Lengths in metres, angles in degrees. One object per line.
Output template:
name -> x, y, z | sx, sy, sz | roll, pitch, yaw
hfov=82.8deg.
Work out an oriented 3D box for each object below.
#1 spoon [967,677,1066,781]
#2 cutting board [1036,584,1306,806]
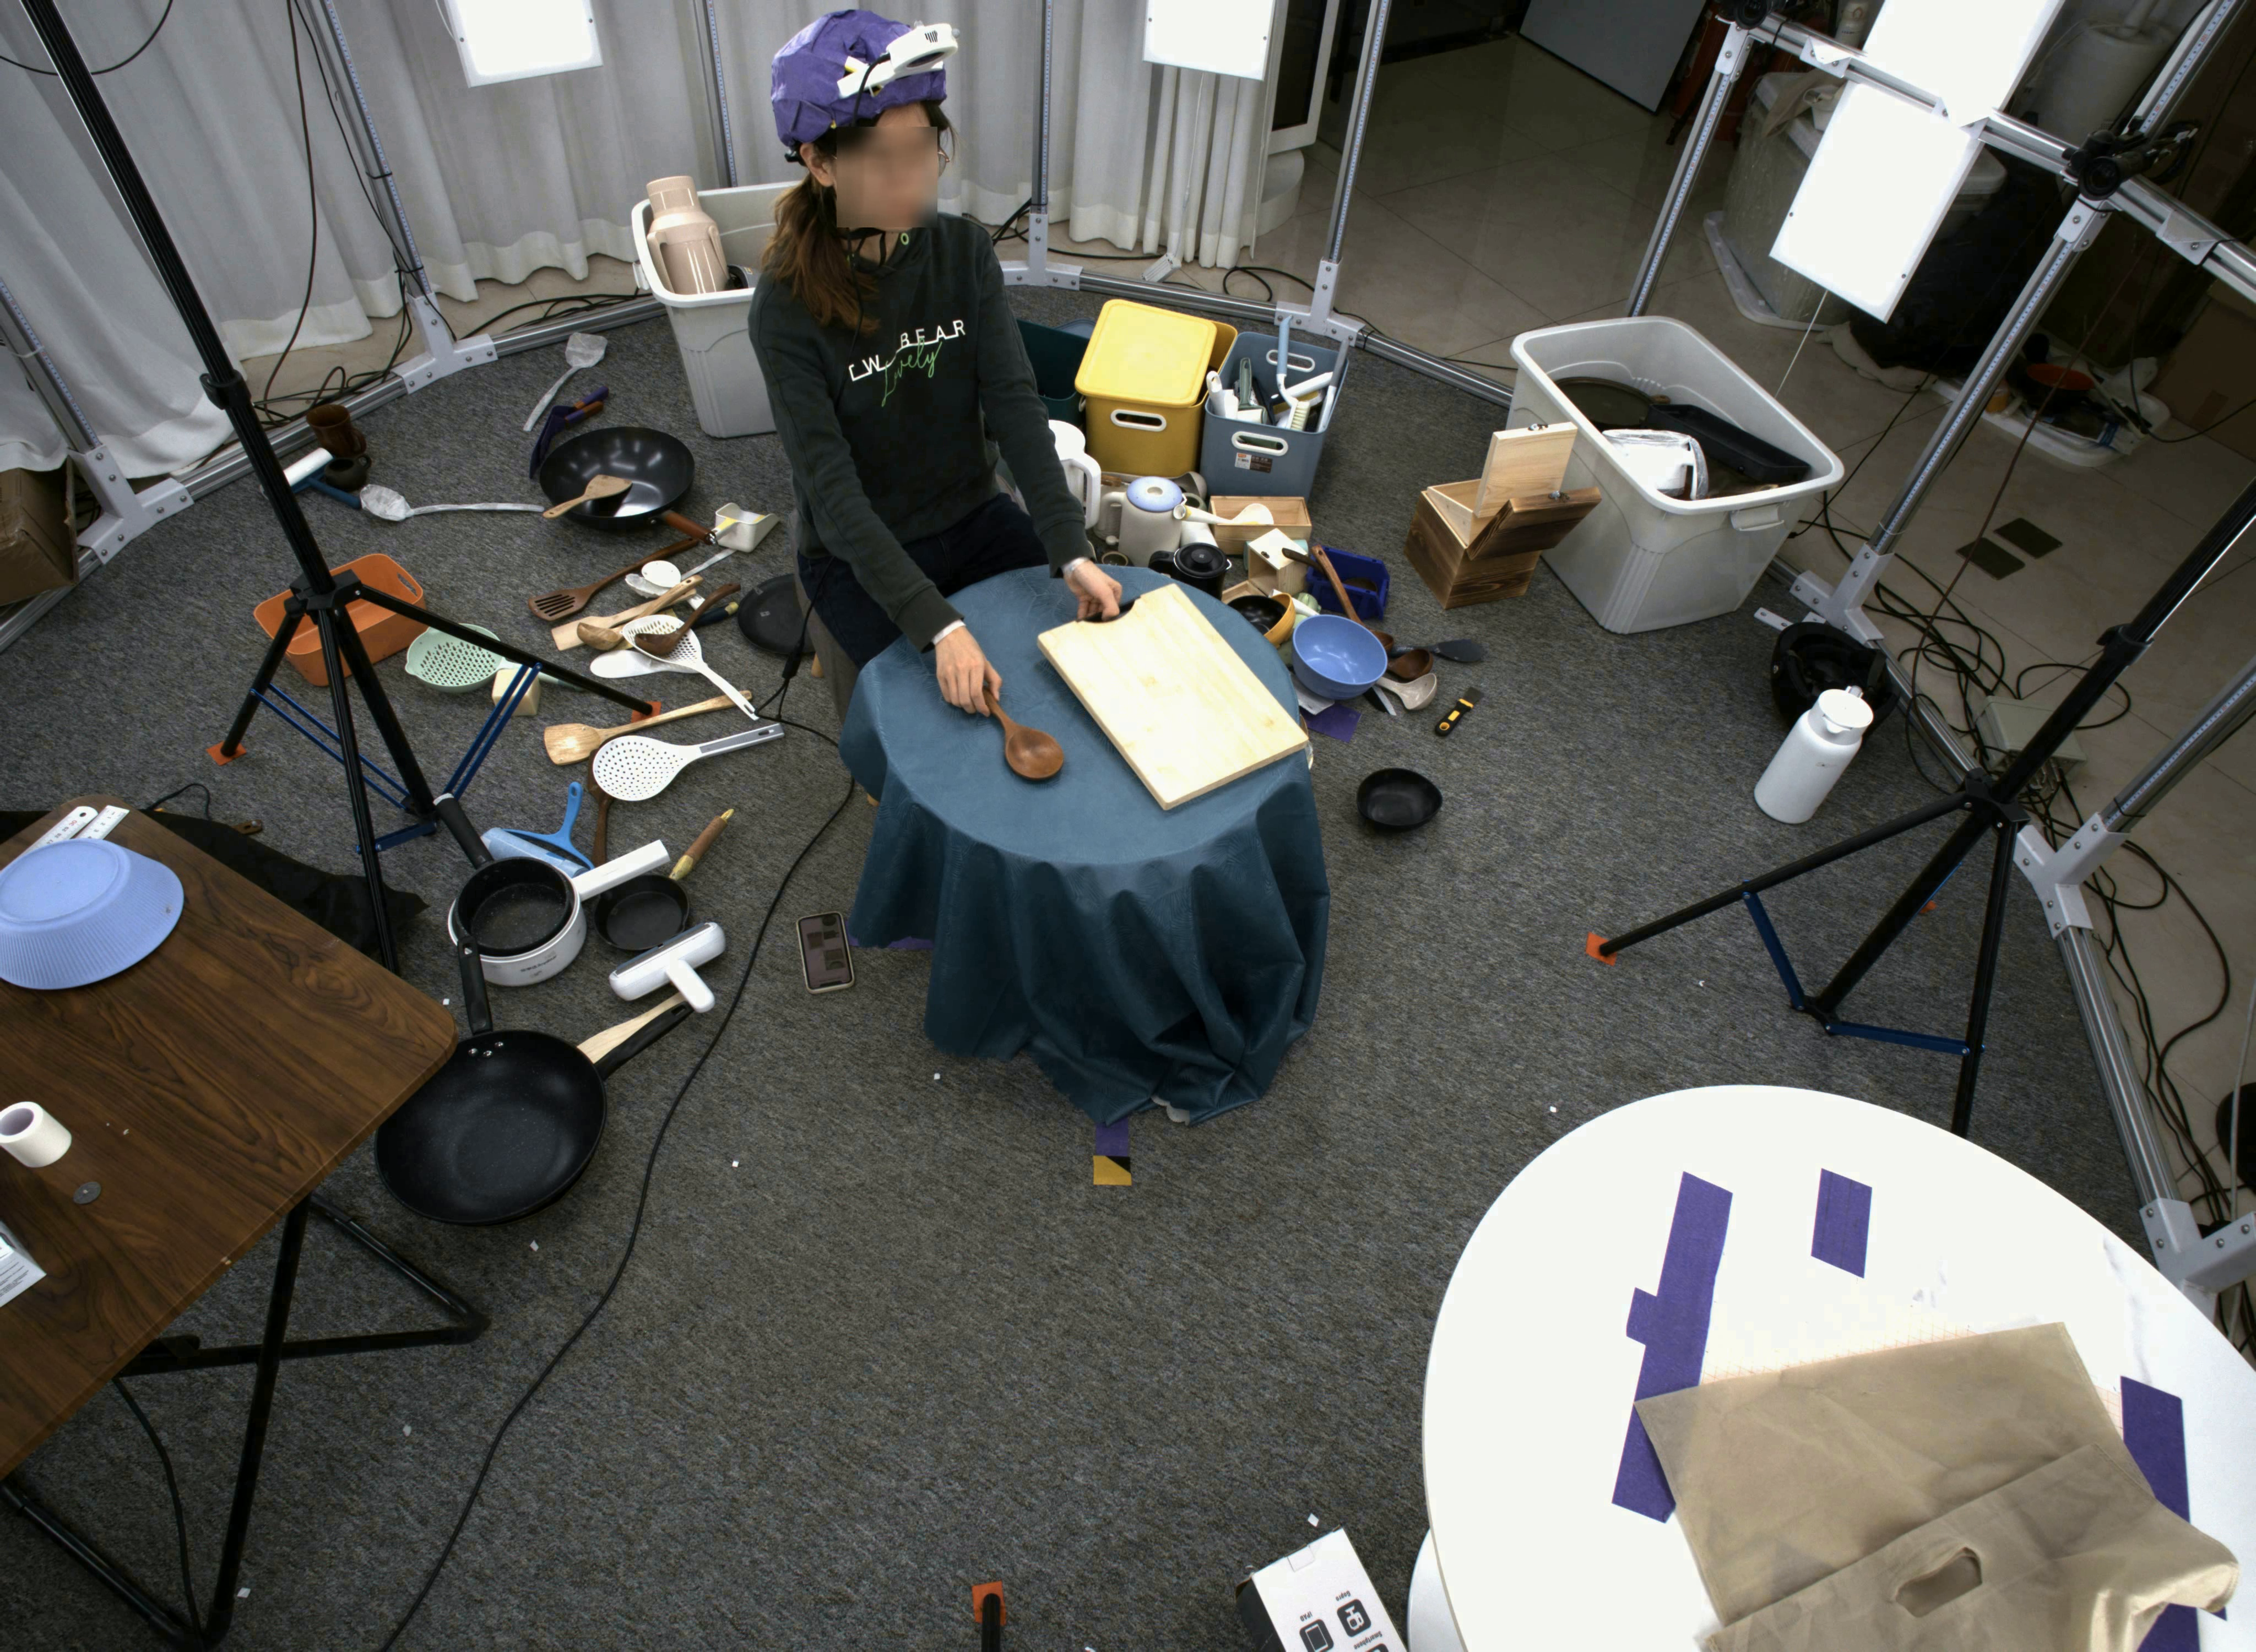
spoon -> -0.160, -0.137, 1.778 | 0.076, 0.017, 0.220 | -30, 58, -17
cutting board -> 0.057, -0.195, 1.832 | 0.252, 0.023, 0.355 | -24, 59, -24
